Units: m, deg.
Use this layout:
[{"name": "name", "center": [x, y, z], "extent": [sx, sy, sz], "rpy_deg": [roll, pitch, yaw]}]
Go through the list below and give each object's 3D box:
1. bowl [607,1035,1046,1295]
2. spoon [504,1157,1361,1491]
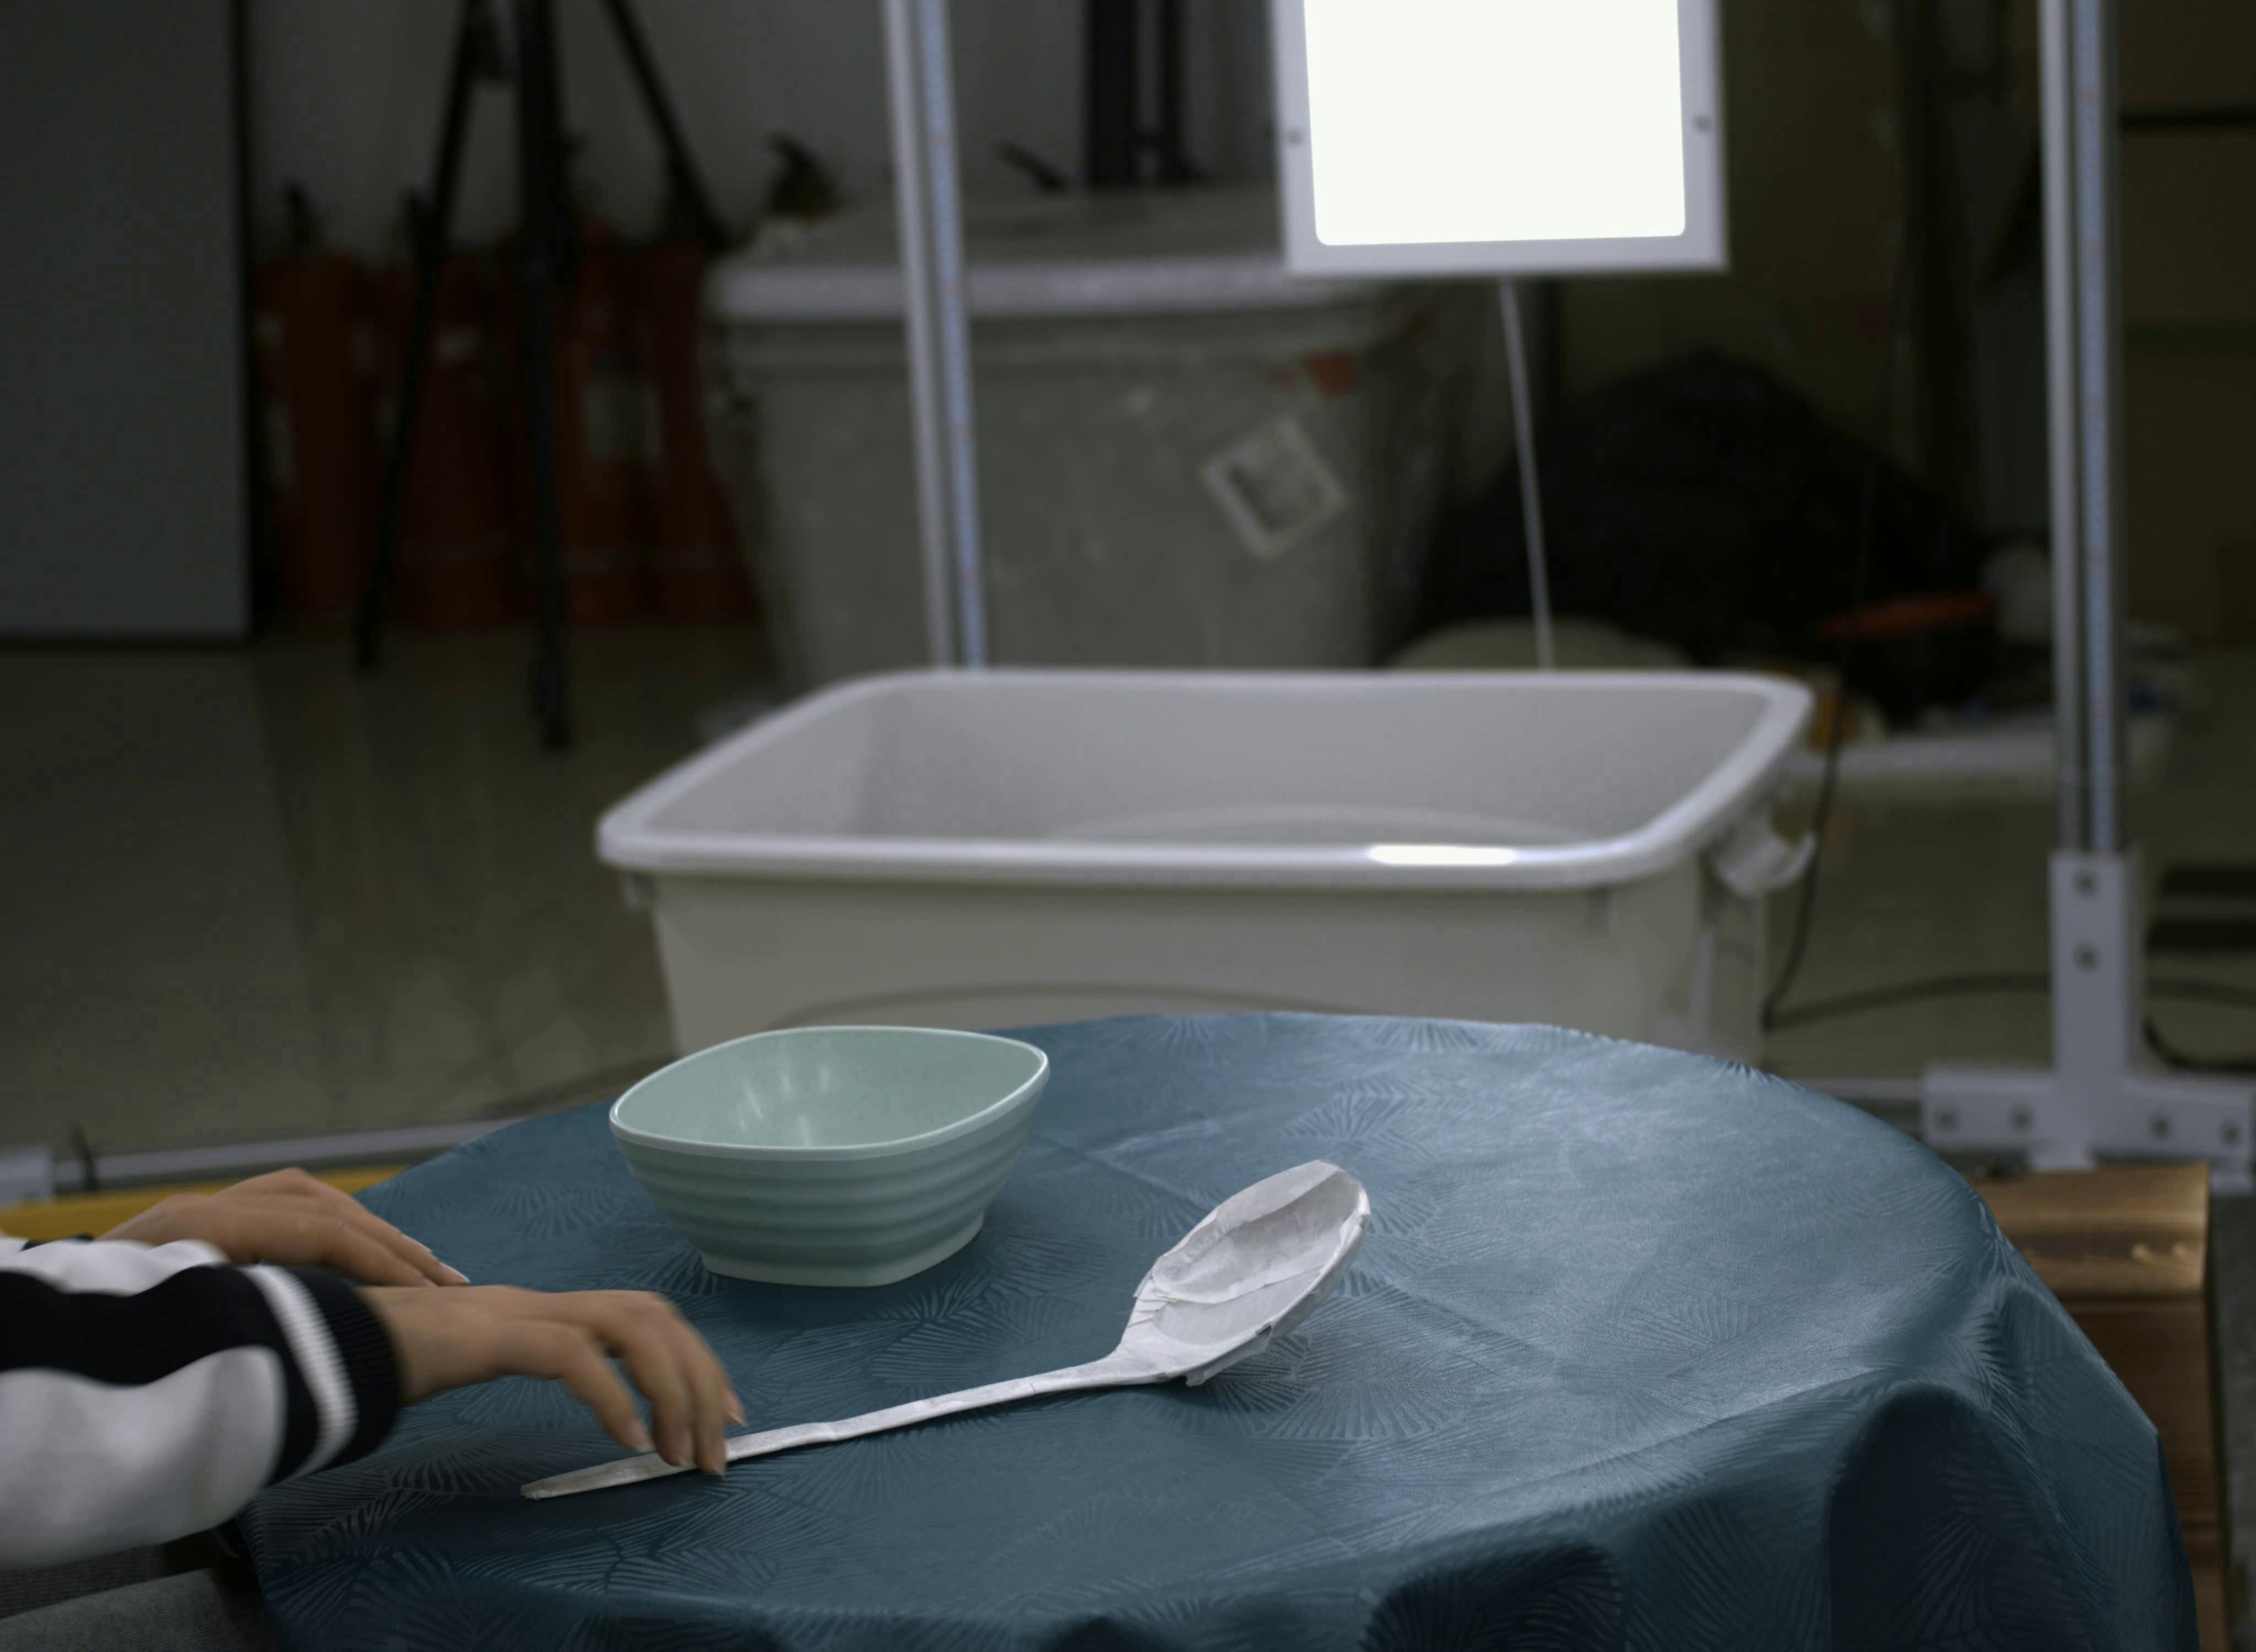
[{"name": "bowl", "center": [-0.099, 0.117, 1.861], "extent": [0.151, 0.059, 0.151], "rpy_deg": [-5, 13, 0]}, {"name": "spoon", "center": [-0.060, 0.152, 1.698], "extent": [0.273, 0.059, 0.101], "rpy_deg": [-8, 8, -13]}]
